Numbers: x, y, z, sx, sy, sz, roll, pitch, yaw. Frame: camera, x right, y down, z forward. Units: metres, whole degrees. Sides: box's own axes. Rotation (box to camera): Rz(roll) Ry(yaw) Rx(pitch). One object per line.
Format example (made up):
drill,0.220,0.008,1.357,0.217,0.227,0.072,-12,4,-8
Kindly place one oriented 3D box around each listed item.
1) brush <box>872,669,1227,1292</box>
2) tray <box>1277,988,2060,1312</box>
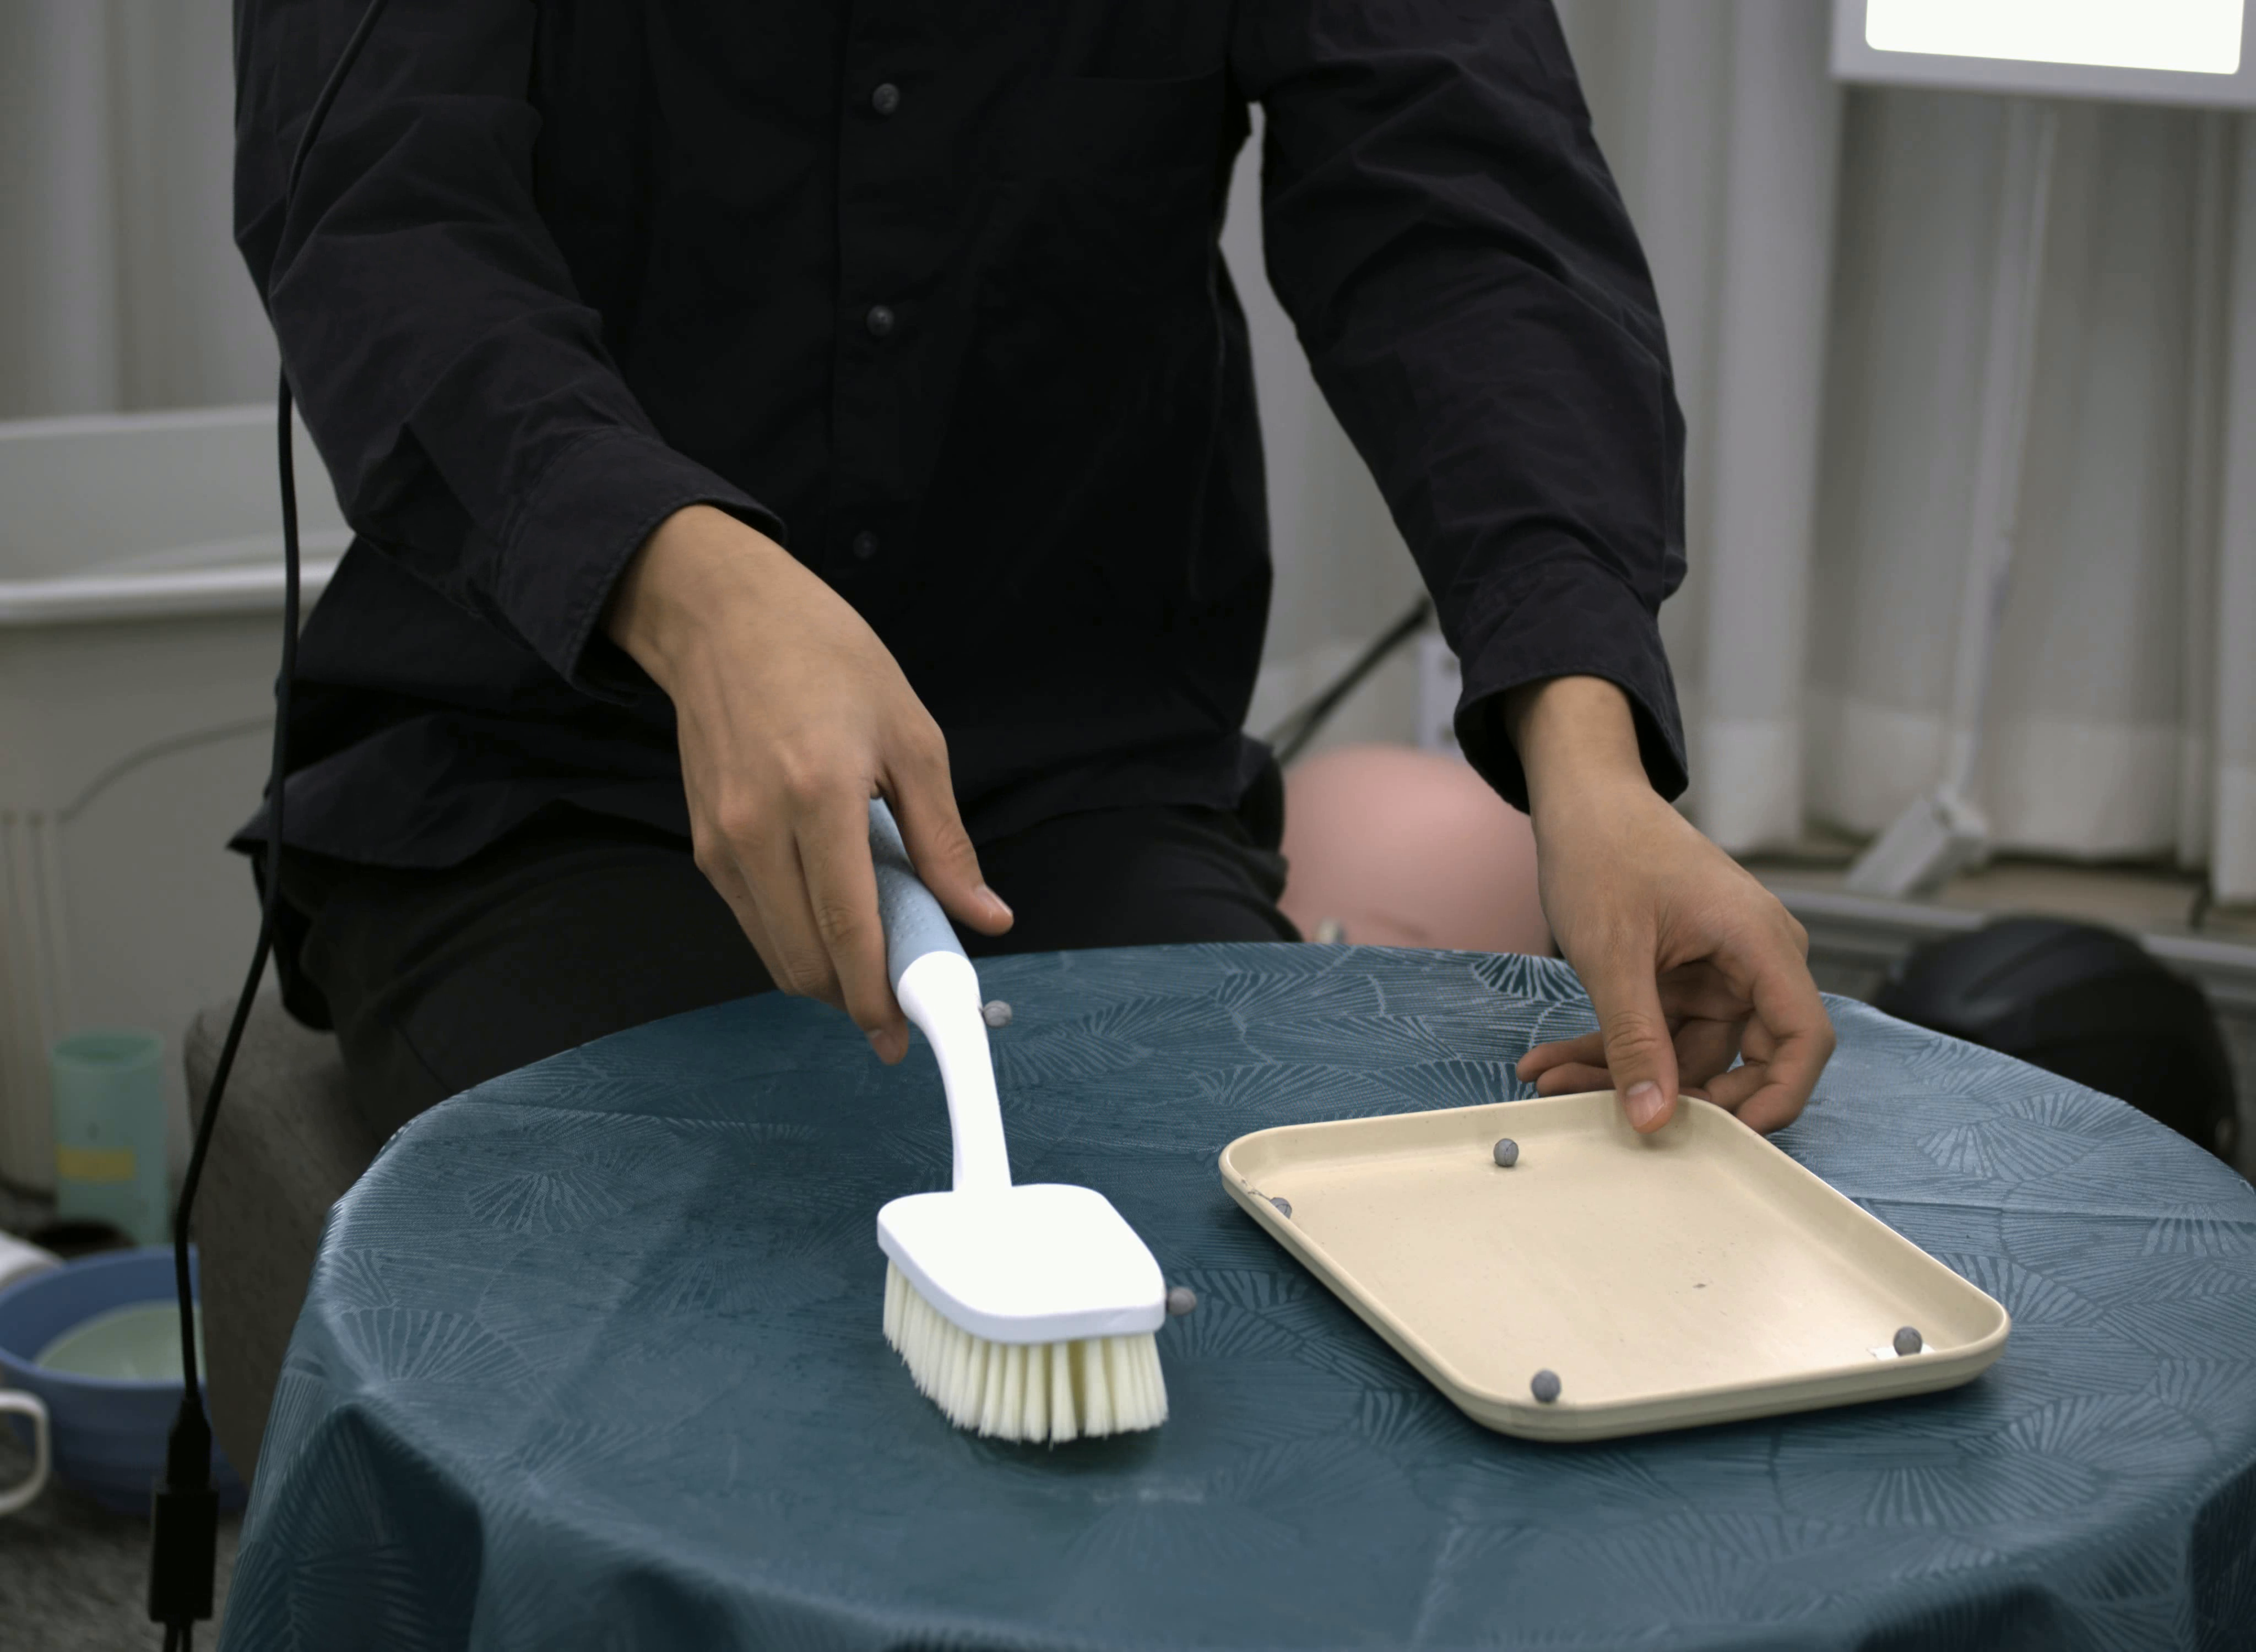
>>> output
brush,-0.030,0.058,1.582,0.084,0.084,0.321,34,13,-28
tray,0.157,0.095,1.578,0.172,0.017,0.237,-4,17,-19
